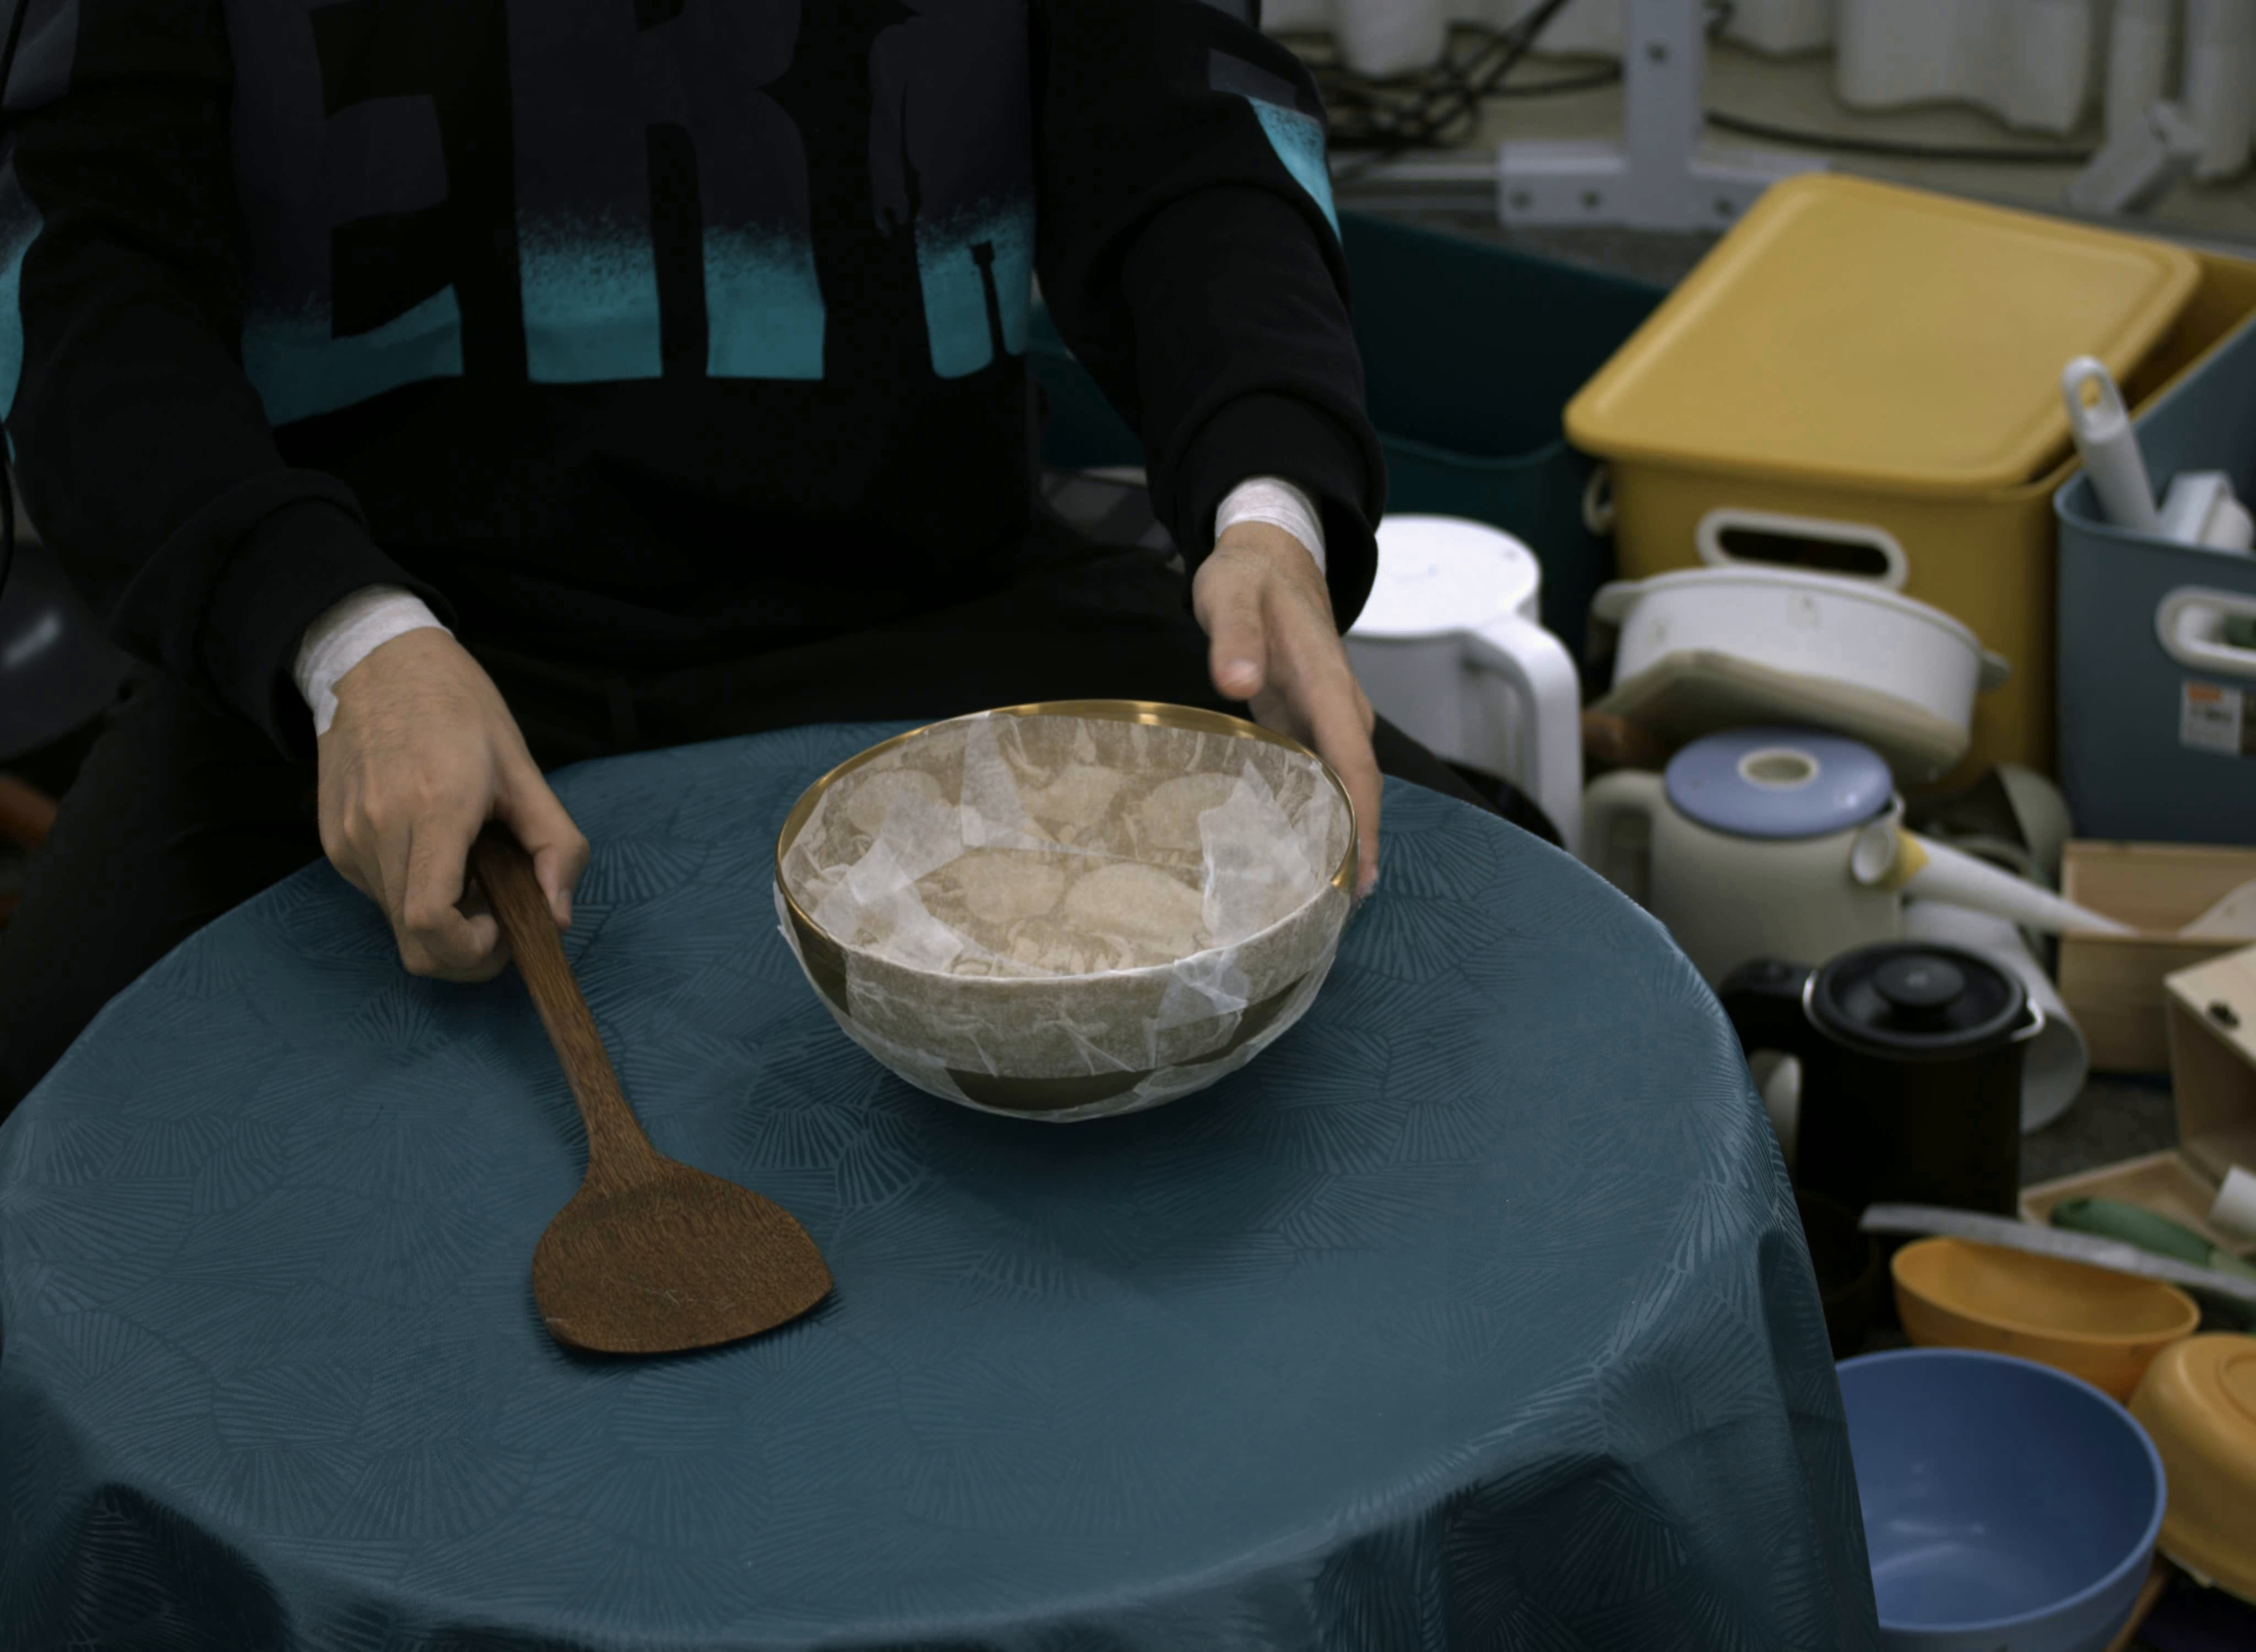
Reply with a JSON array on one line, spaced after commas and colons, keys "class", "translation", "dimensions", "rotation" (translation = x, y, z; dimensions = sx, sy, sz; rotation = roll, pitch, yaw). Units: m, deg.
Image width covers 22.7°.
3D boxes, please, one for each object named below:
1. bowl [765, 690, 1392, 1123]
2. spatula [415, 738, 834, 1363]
[{"class": "bowl", "translation": [-0.016, 0.040, 1.920], "dimensions": [0.213, 0.093, 0.218], "rotation": [-4, 26, 2]}, {"class": "spatula", "translation": [-0.194, 0.068, 1.938], "dimensions": [0.096, 0.015, 0.390], "rotation": [-10, 35, -15]}]
